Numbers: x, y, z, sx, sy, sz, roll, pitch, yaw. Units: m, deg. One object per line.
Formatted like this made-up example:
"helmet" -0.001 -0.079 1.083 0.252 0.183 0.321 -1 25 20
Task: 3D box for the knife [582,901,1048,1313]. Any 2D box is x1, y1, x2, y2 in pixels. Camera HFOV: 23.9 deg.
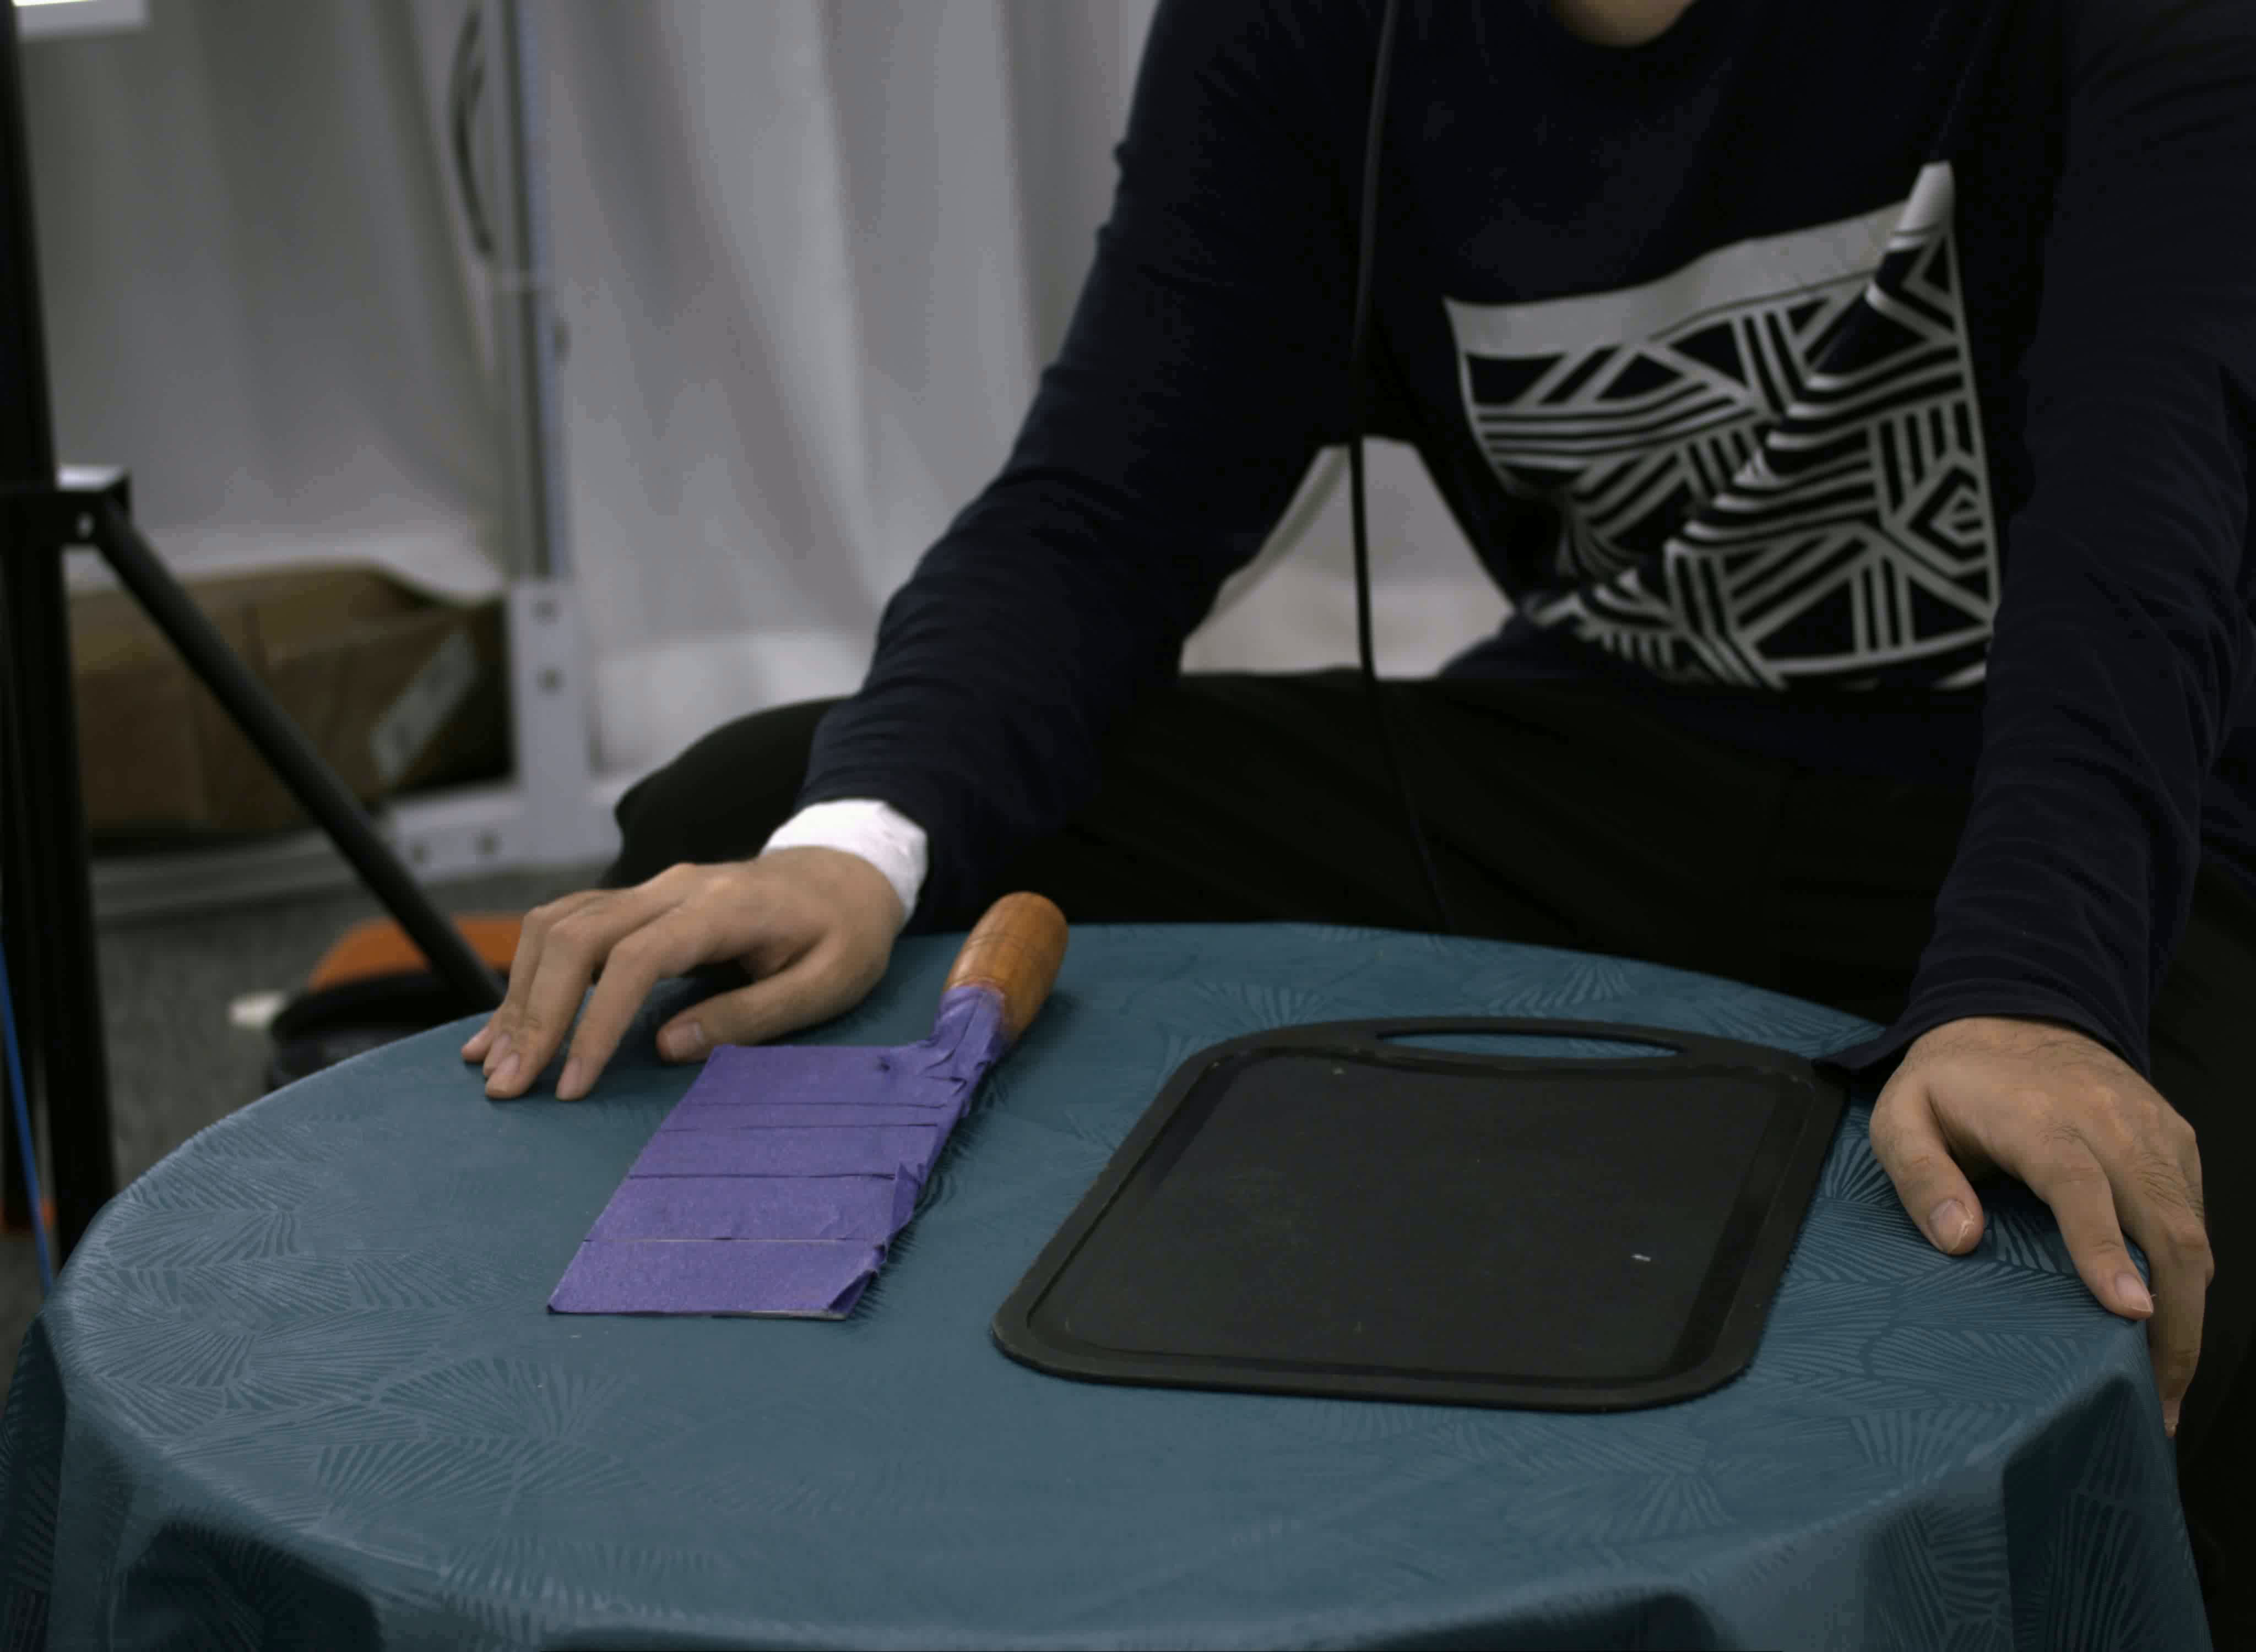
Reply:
"knife" -0.093 0.082 1.619 0.104 0.032 0.314 1 16 10

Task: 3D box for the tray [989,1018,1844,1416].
"tray" 0.092 0.105 1.545 0.213 0.010 0.323 2 16 15
